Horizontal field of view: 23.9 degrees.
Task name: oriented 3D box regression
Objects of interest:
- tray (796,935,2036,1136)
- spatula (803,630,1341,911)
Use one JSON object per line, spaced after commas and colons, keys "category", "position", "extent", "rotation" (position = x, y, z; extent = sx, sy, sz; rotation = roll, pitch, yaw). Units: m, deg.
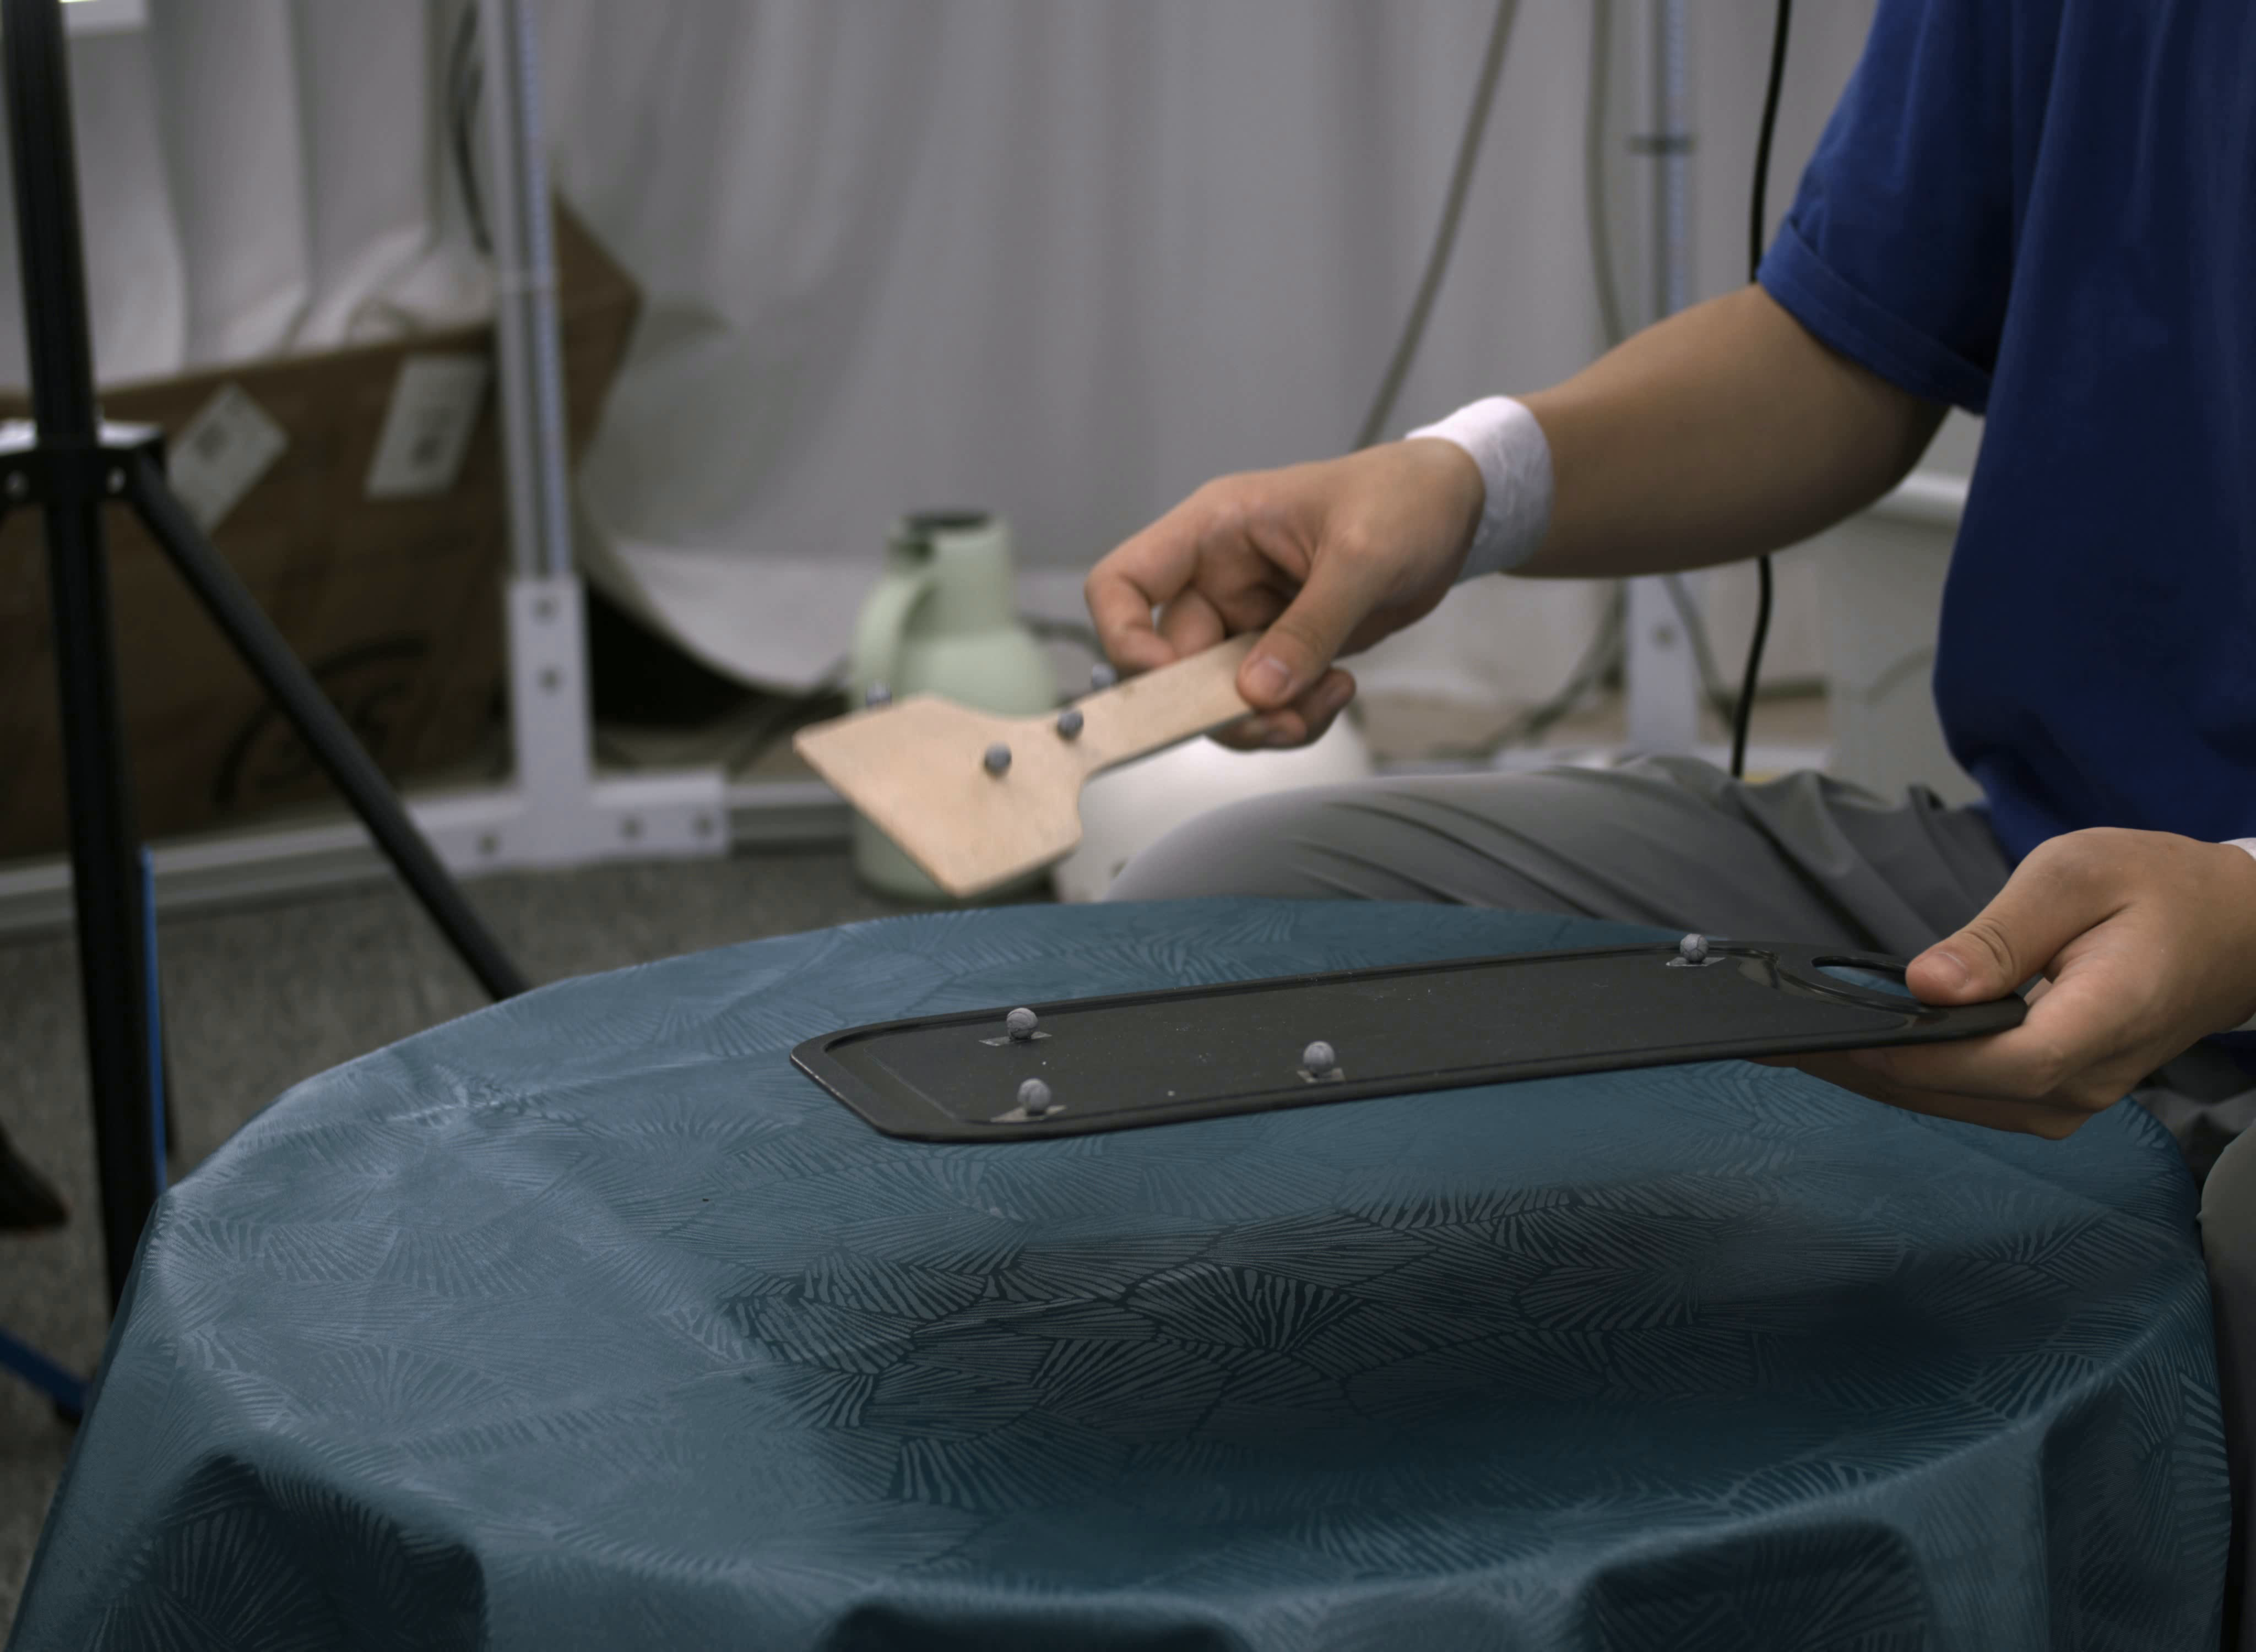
{"category": "tray", "position": [0.079, 0.052, 1.425], "extent": [0.321, 0.010, 0.213], "rotation": [-5, 7, -10]}
{"category": "spatula", "position": [-0.006, -0.027, 1.657], "extent": [0.073, 0.011, 0.288], "rotation": [41, 28, 15]}
